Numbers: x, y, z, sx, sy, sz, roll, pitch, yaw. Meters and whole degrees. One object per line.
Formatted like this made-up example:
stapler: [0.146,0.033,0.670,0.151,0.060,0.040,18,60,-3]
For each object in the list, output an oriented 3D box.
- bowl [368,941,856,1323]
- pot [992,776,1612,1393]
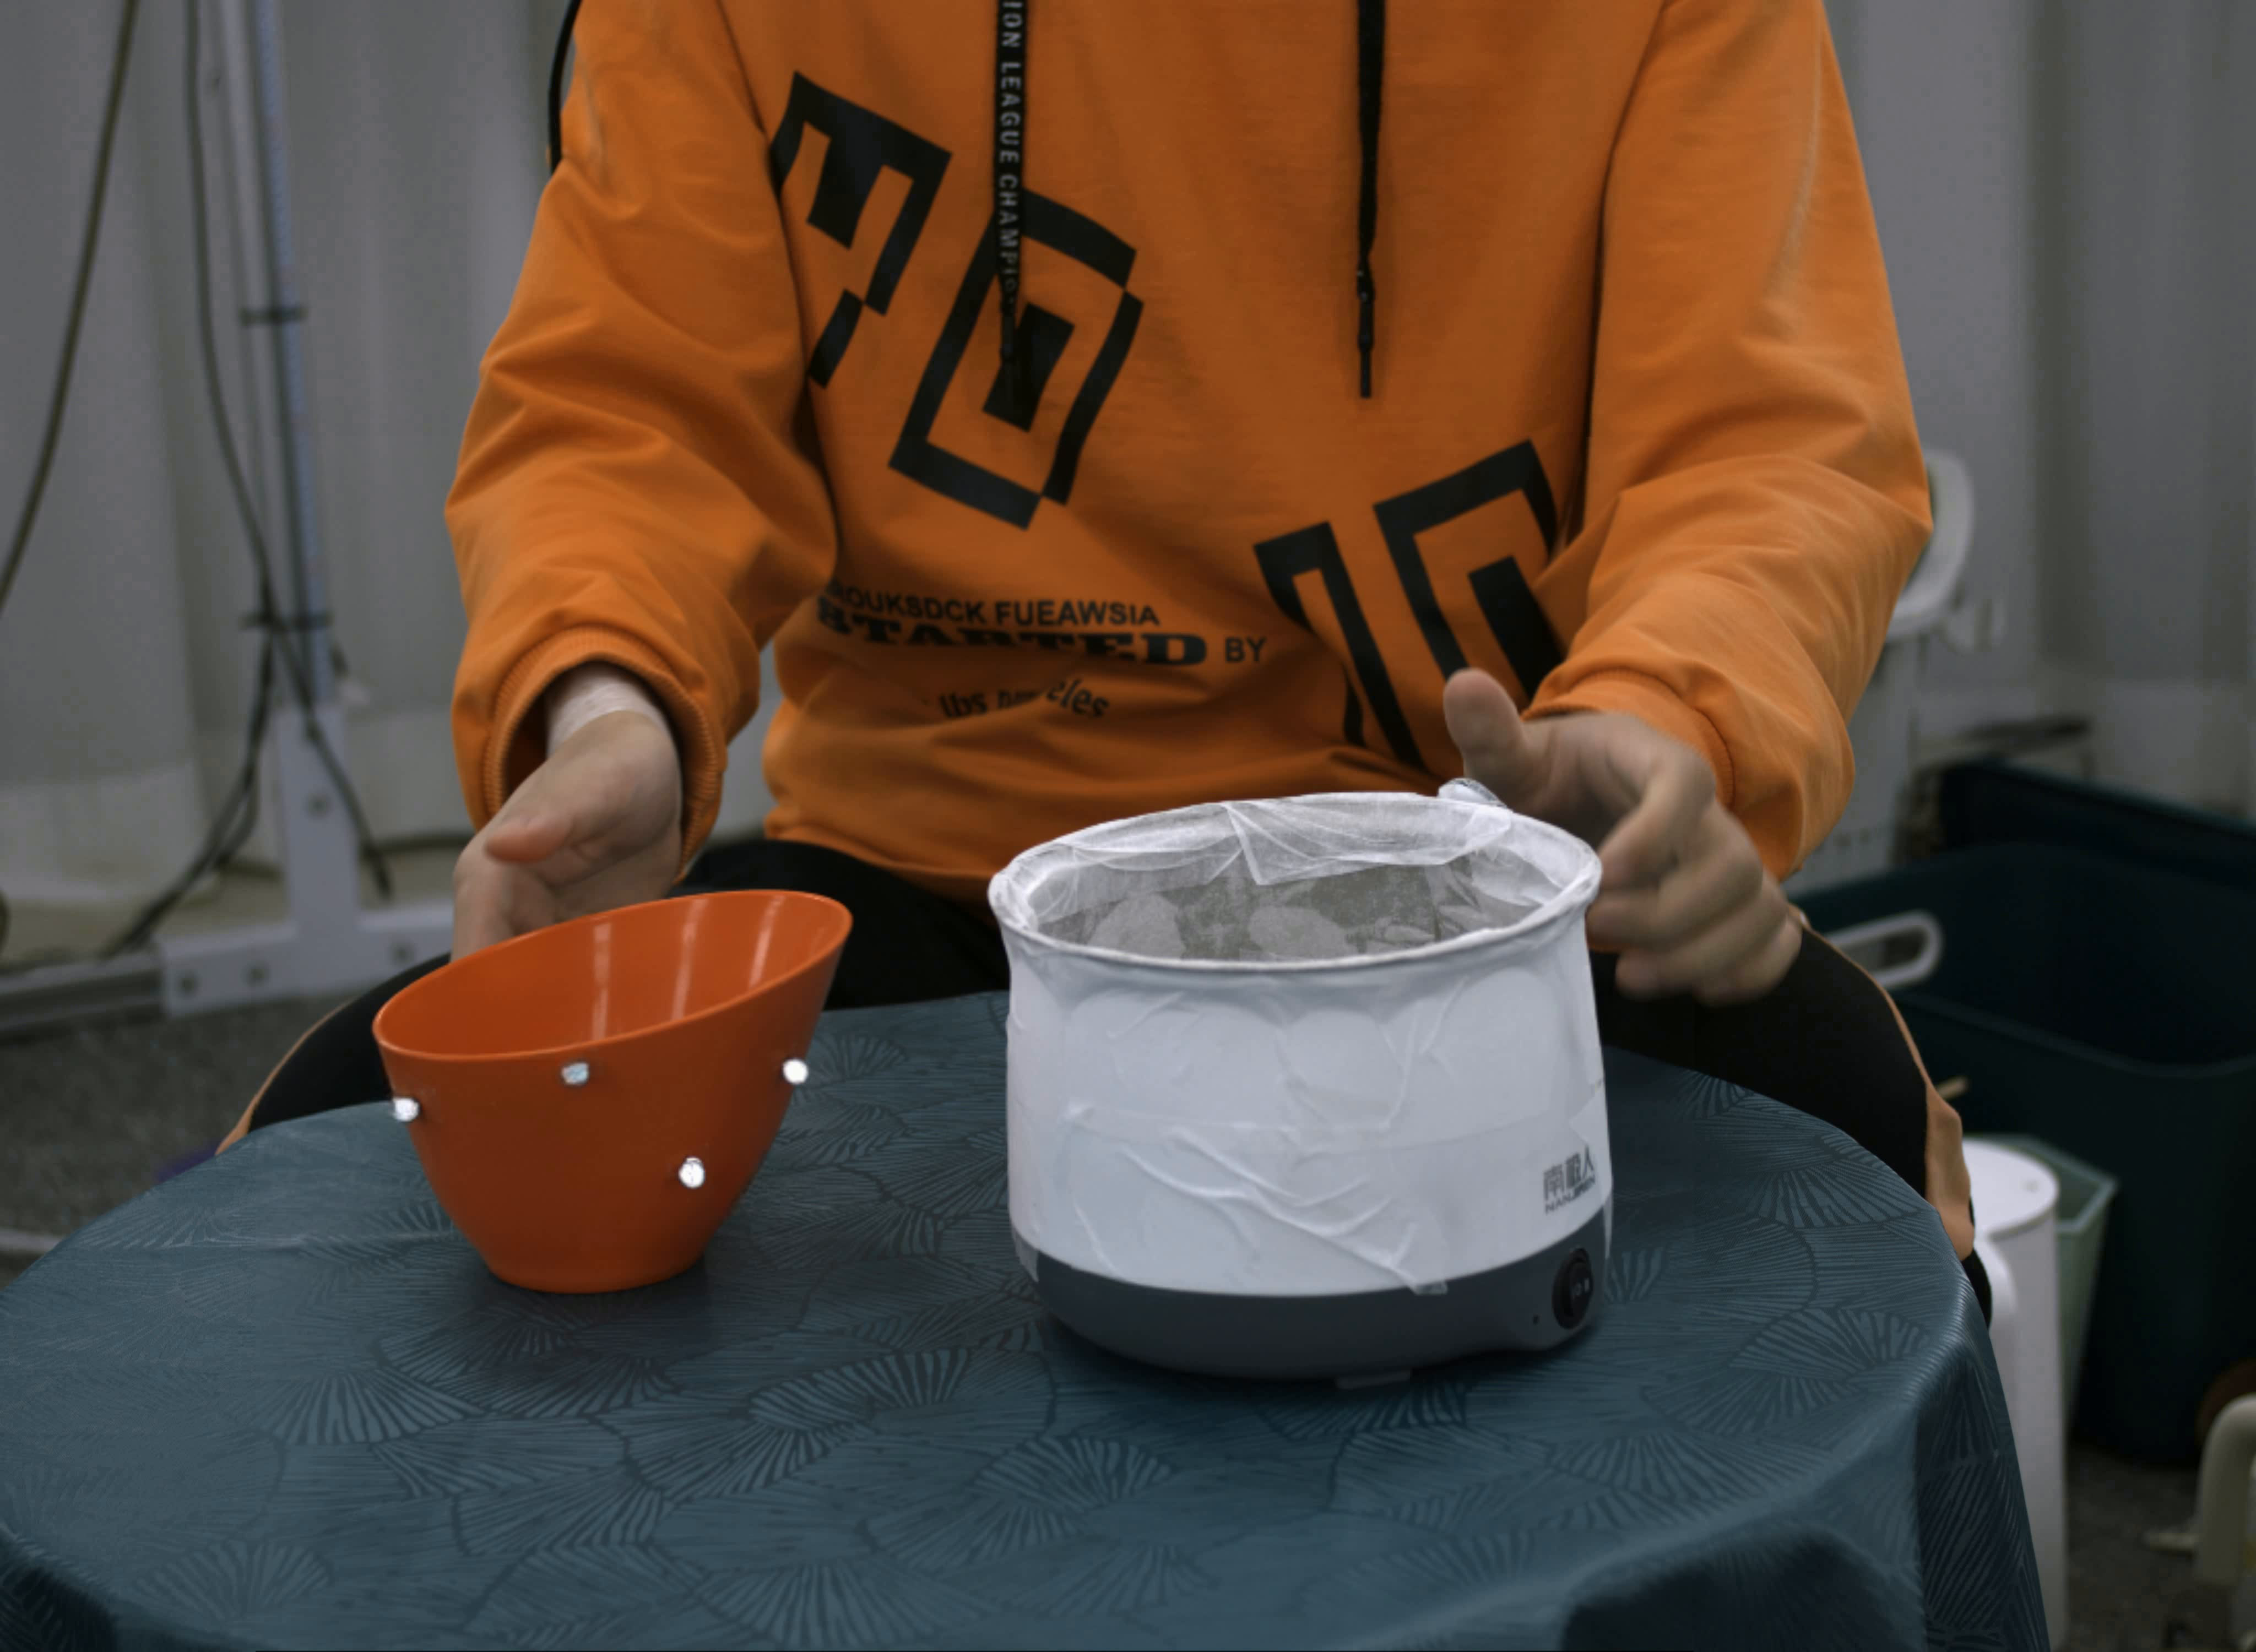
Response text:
bowl: [-0.158,0.093,1.667,0.147,0.104,0.149,3,12,-1]
pot: [0.066,0.069,1.611,0.179,0.136,0.234,6,18,31]
